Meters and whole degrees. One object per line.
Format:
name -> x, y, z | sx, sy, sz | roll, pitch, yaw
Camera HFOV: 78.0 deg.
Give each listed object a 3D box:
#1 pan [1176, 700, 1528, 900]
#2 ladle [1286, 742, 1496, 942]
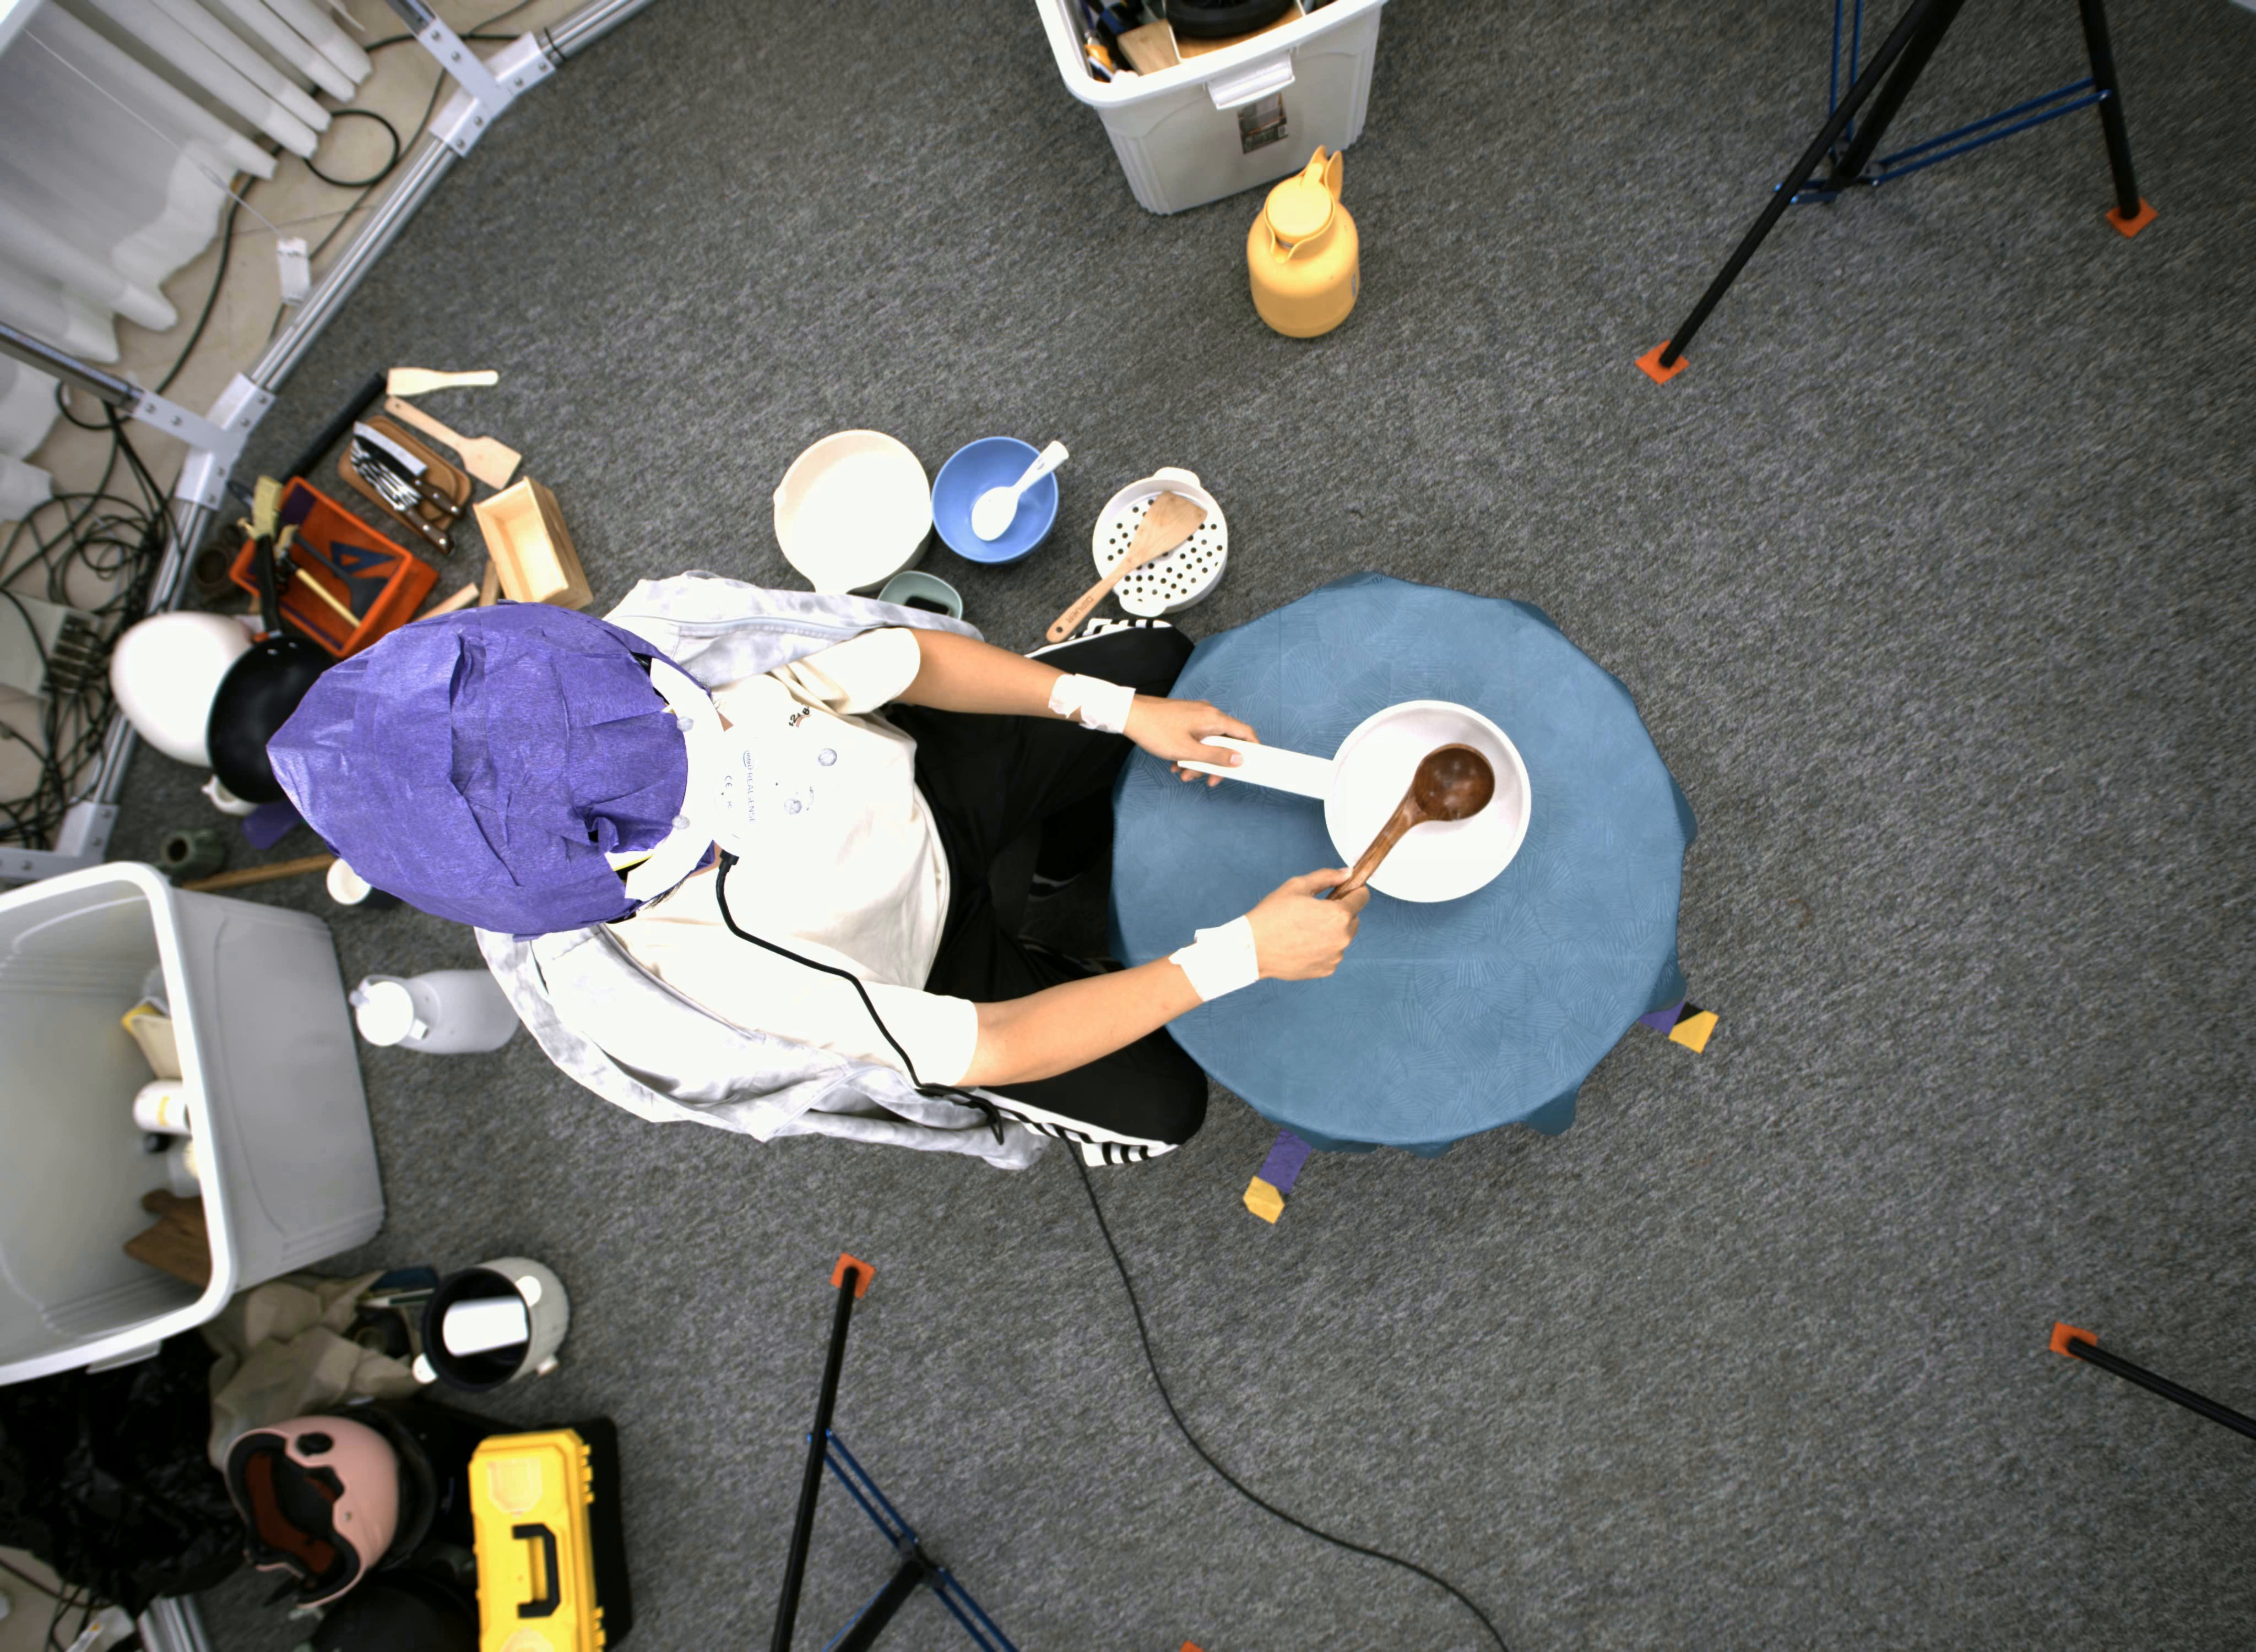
pan -> 0.228, -0.041, 1.422 | 0.355, 0.102, 0.201 | 14, 90, 12
ladle -> 0.256, 0.017, 1.310 | 0.269, 0.077, 0.082 | -43, 104, -29
